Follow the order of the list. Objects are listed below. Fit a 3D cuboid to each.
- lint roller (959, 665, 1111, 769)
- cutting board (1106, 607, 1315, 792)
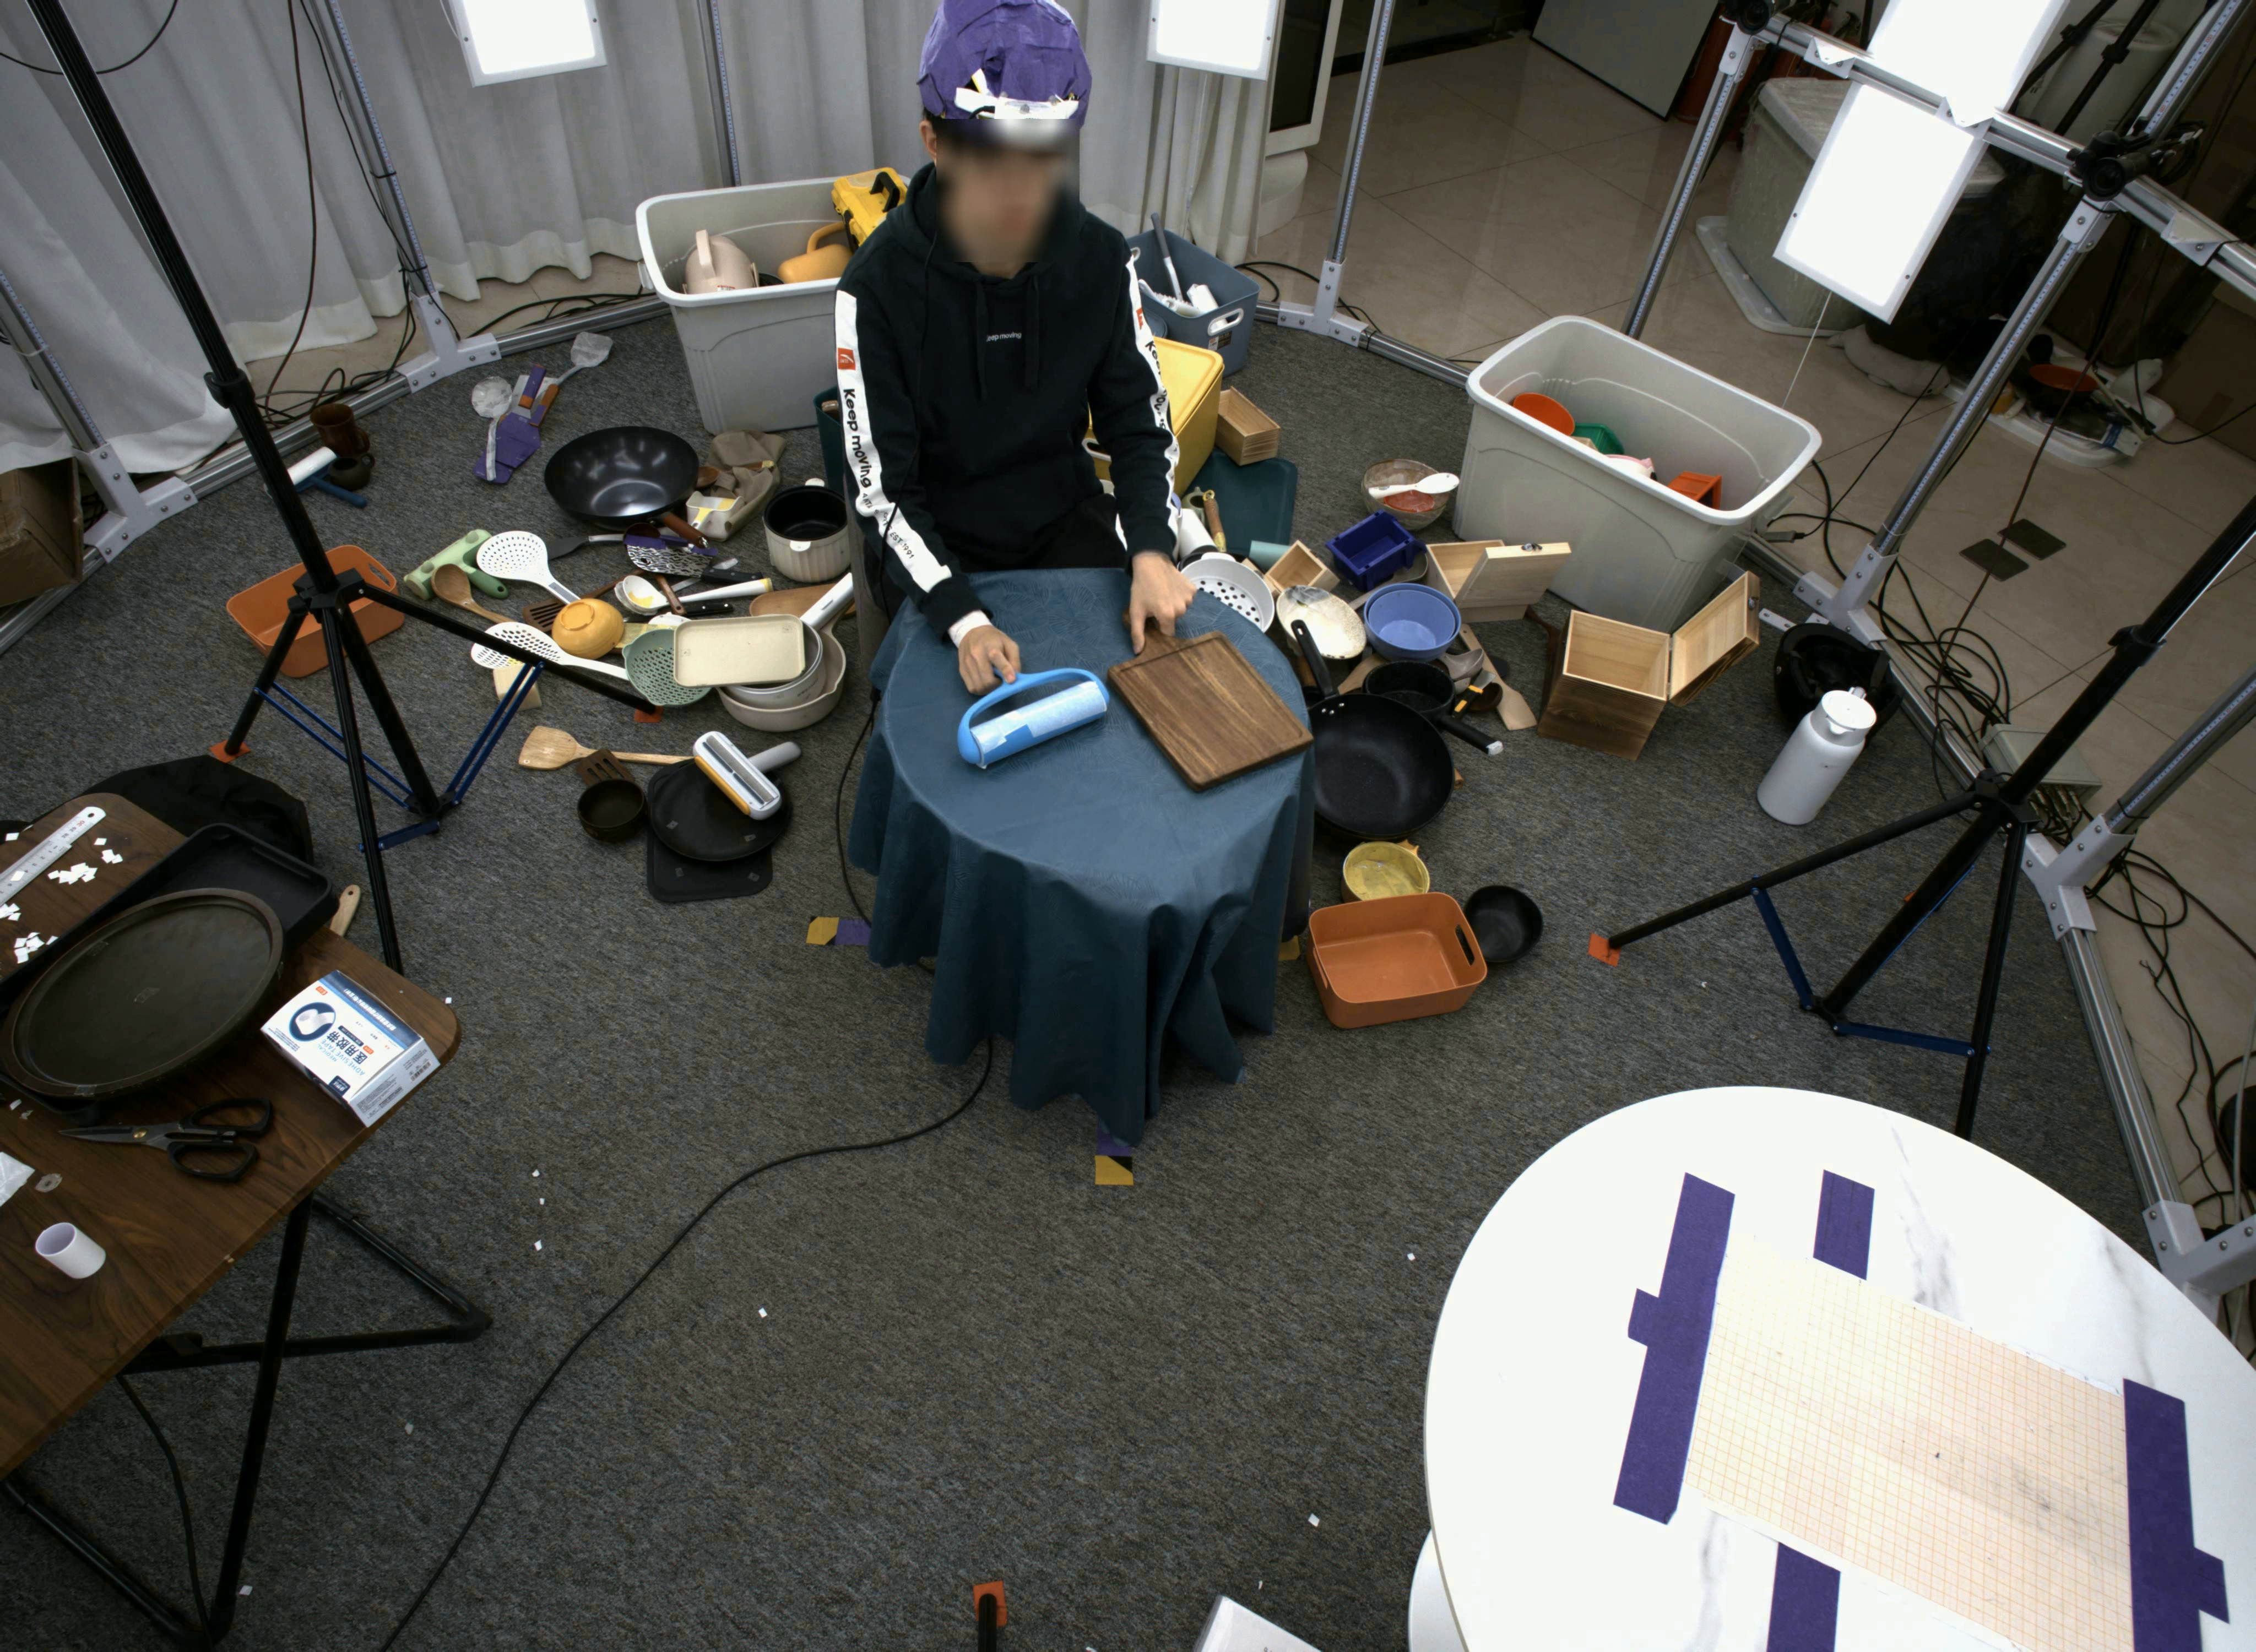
[{"bbox_3d":[-0.157,-0.179,1.776,0.230,0.066,0.183,-28,57,-23],"label":"lint roller"},{"bbox_3d":[0.089,-0.202,1.834,0.201,0.022,0.359,-21,54,-22],"label":"cutting board"}]
